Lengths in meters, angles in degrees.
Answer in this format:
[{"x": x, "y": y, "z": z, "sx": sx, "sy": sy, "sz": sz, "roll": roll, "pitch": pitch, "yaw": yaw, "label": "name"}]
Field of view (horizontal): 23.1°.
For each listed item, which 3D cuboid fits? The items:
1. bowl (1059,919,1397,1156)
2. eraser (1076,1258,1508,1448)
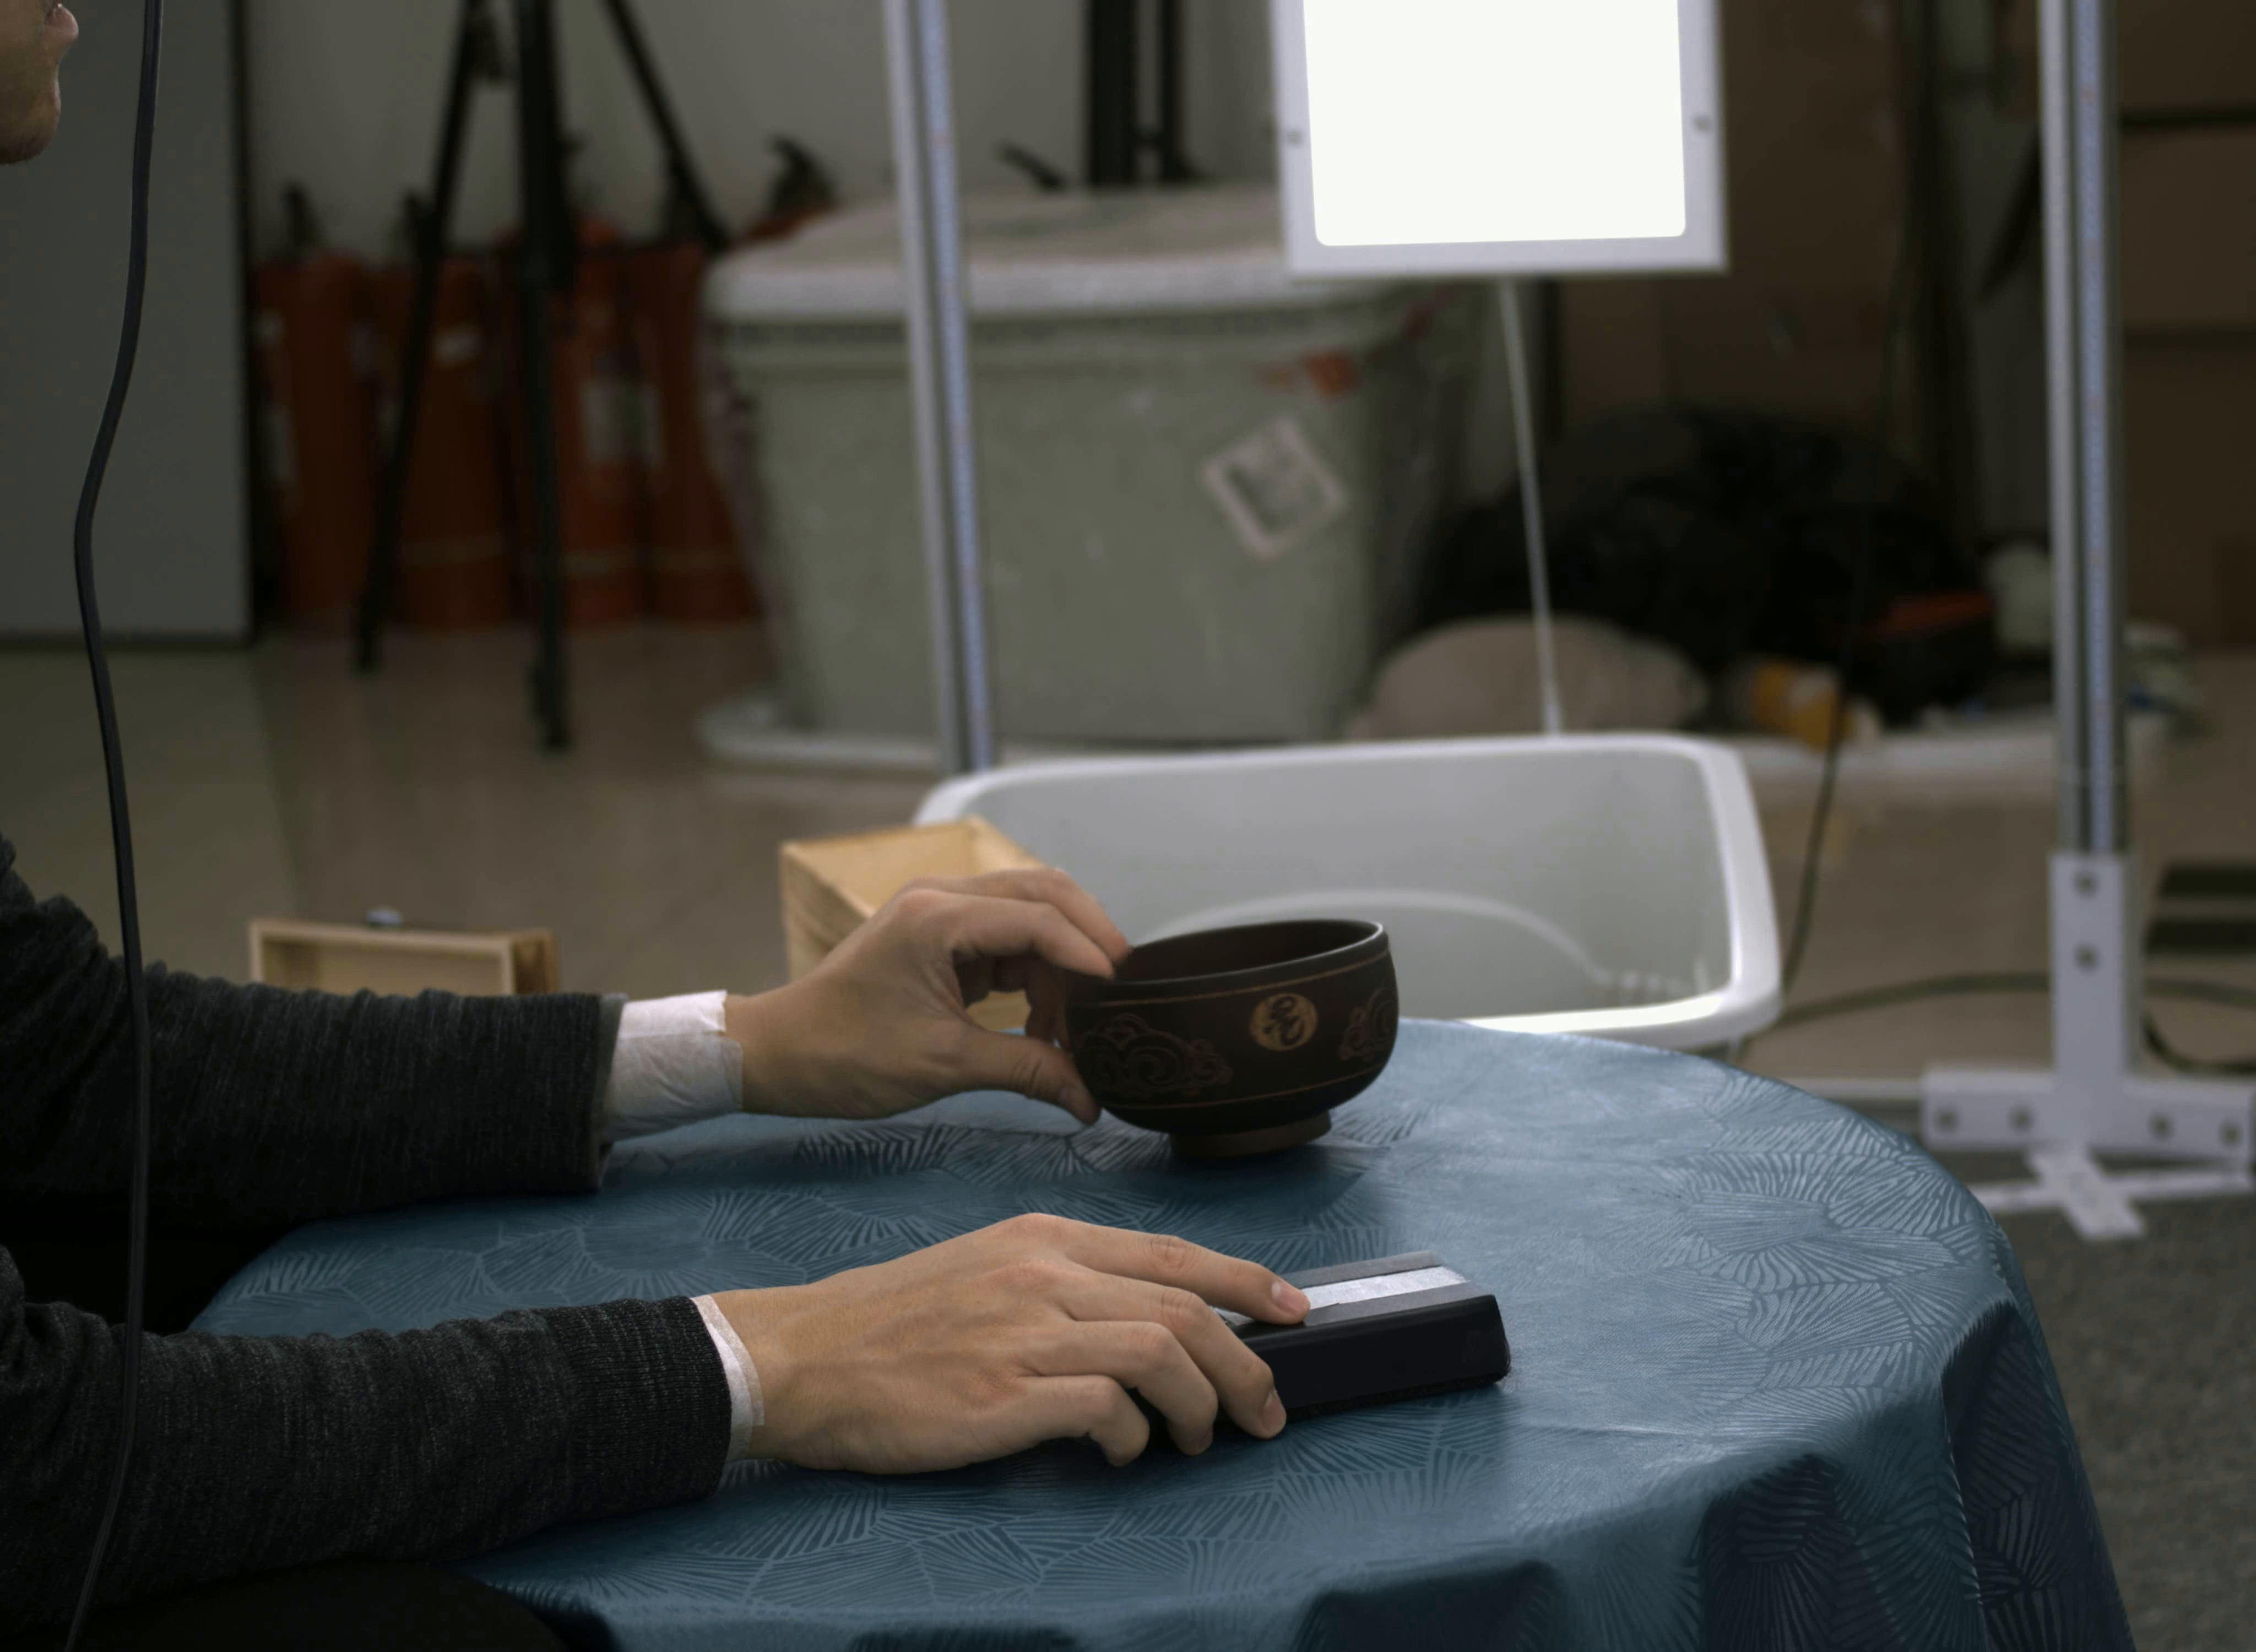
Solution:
[{"x": 0.037, "y": 0.076, "z": 1.926, "sx": 0.118, "sy": 0.070, "sz": 0.118, "roll": -8, "pitch": 7, "yaw": 0, "label": "bowl"}, {"x": 0.051, "y": 0.160, "z": 1.679, "sx": 0.123, "sy": 0.030, "sz": 0.054, "roll": -9, "pitch": 15, "yaw": -17, "label": "eraser"}]
